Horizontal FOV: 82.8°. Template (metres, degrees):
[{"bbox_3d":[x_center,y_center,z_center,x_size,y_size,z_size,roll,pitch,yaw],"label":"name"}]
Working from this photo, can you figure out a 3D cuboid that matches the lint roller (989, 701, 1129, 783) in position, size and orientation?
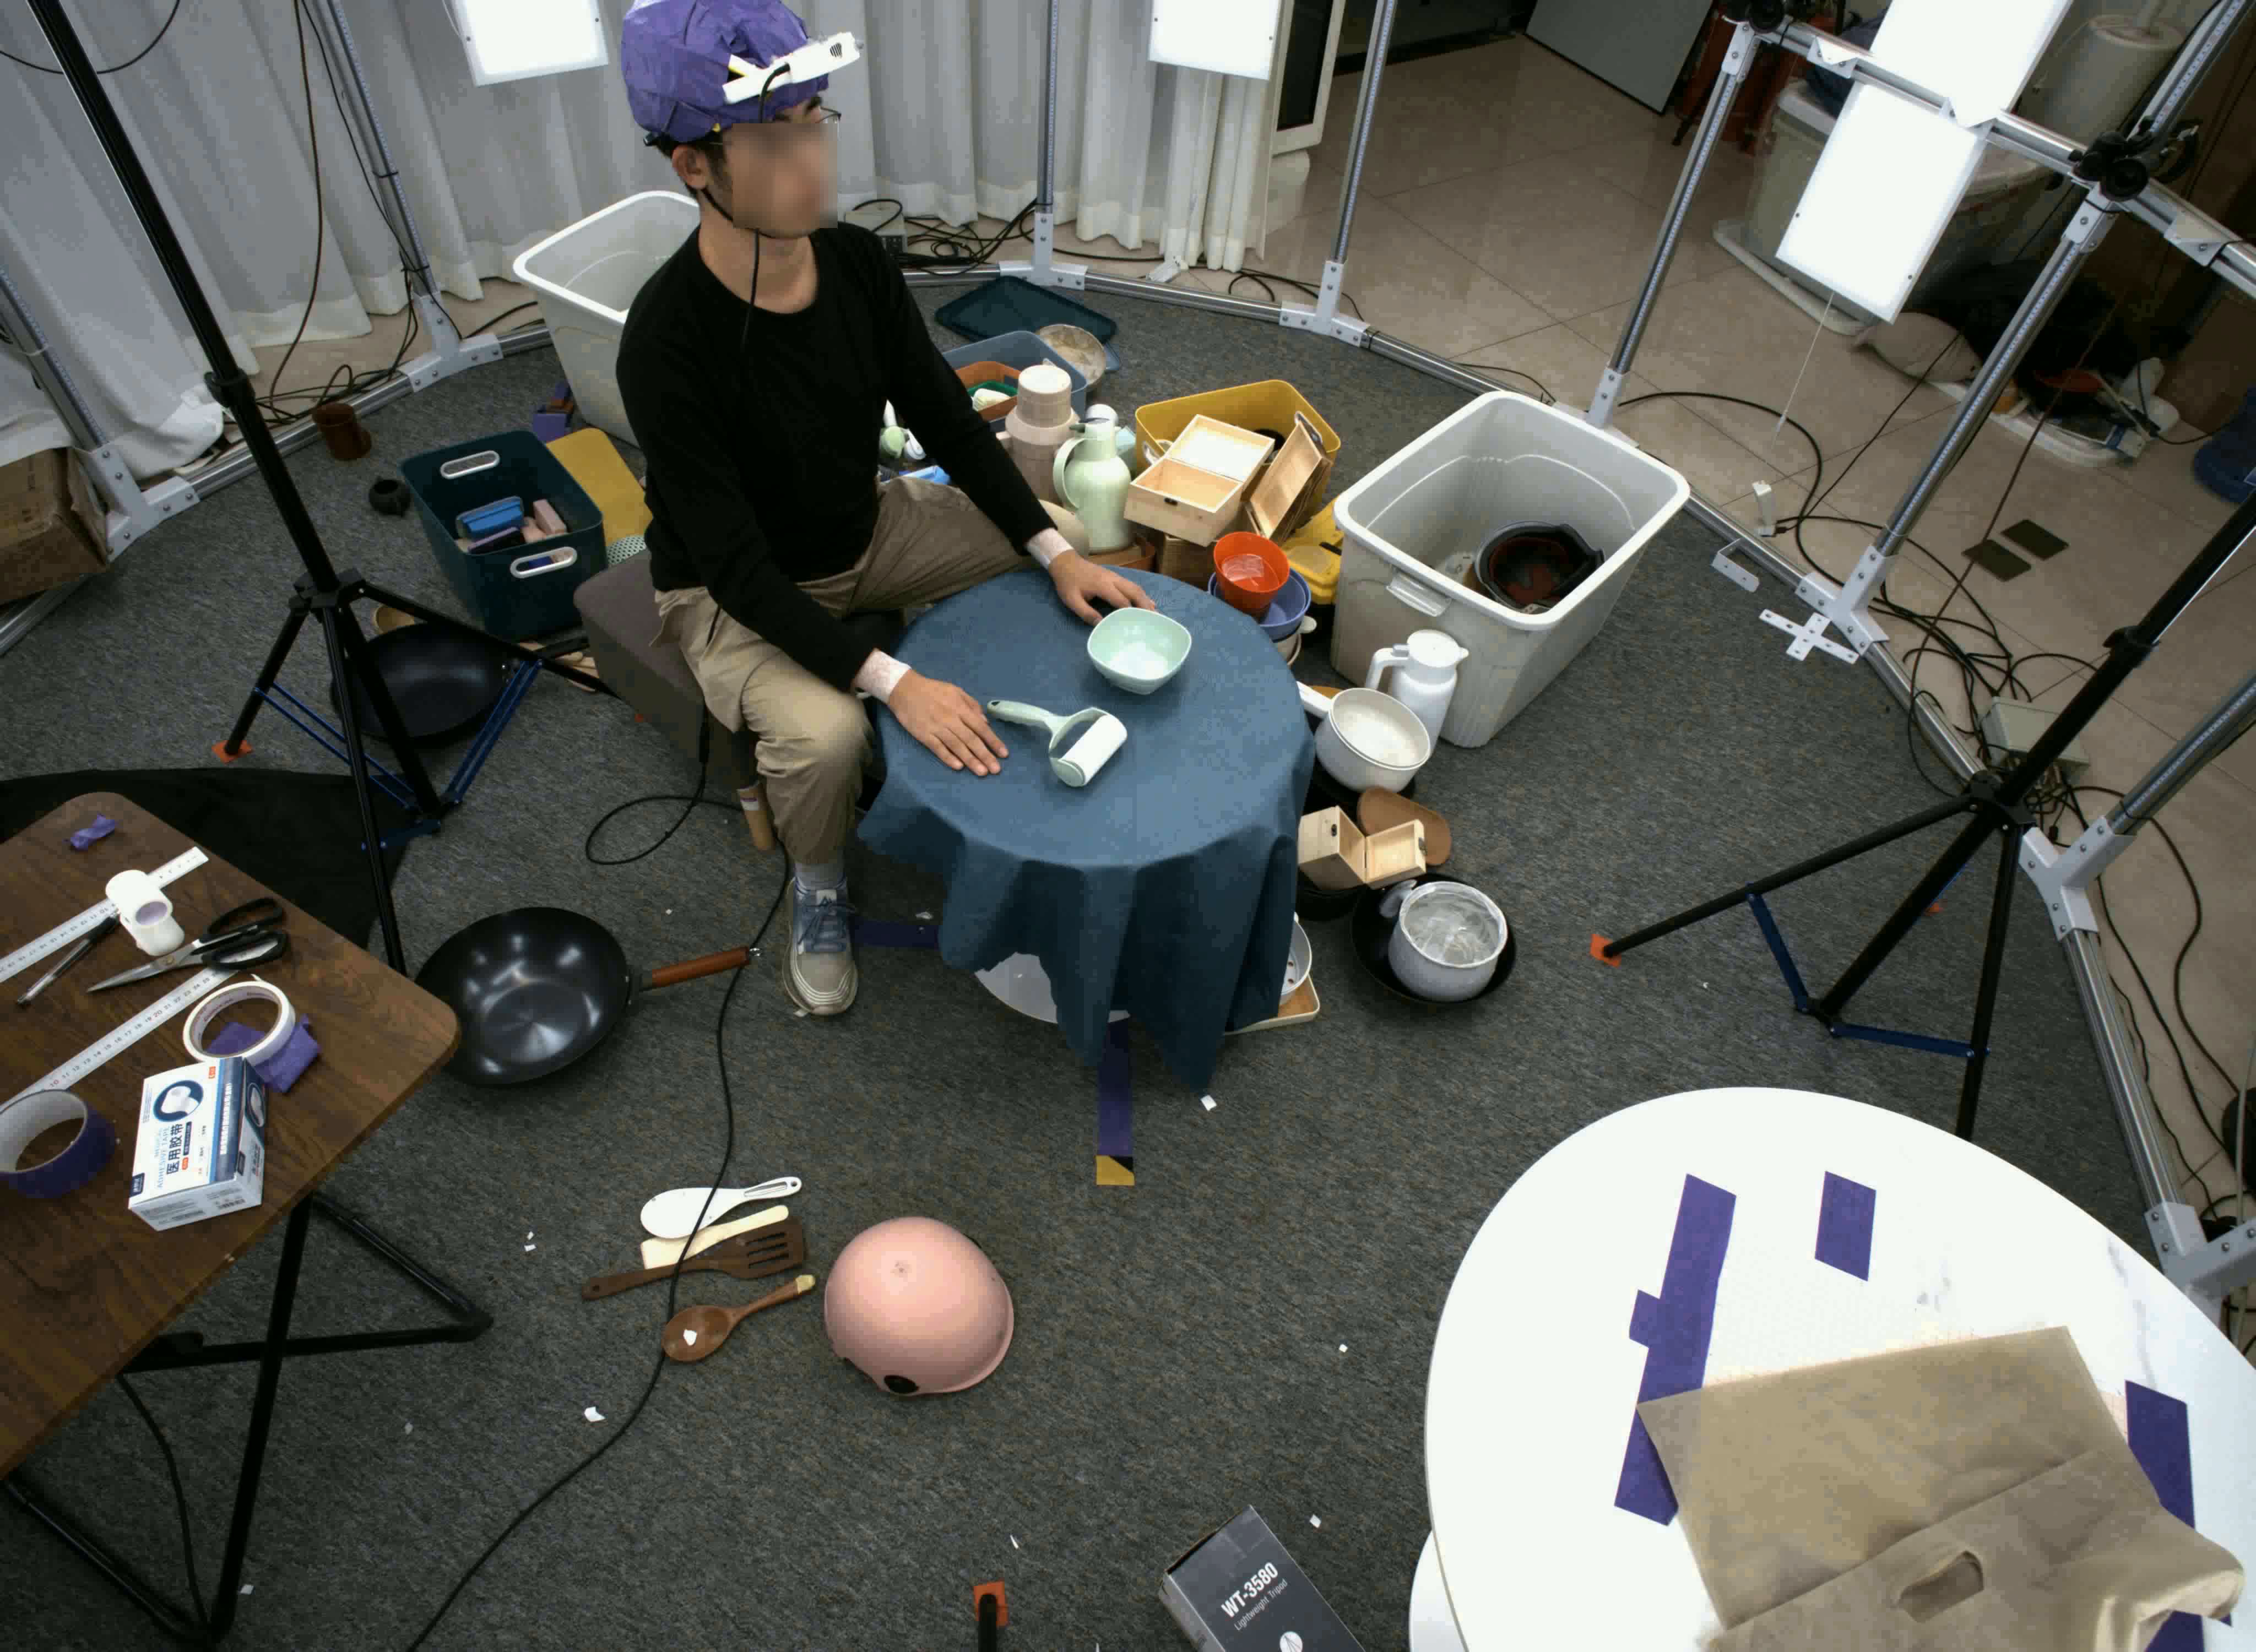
[{"bbox_3d":[-0.105,-0.138,1.754,0.199,0.047,0.118,27,54,19],"label":"lint roller"}]

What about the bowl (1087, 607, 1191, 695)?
[{"bbox_3d":[0.015,-0.243,1.846,0.151,0.057,0.155,2,50,-3],"label":"bowl"}]
